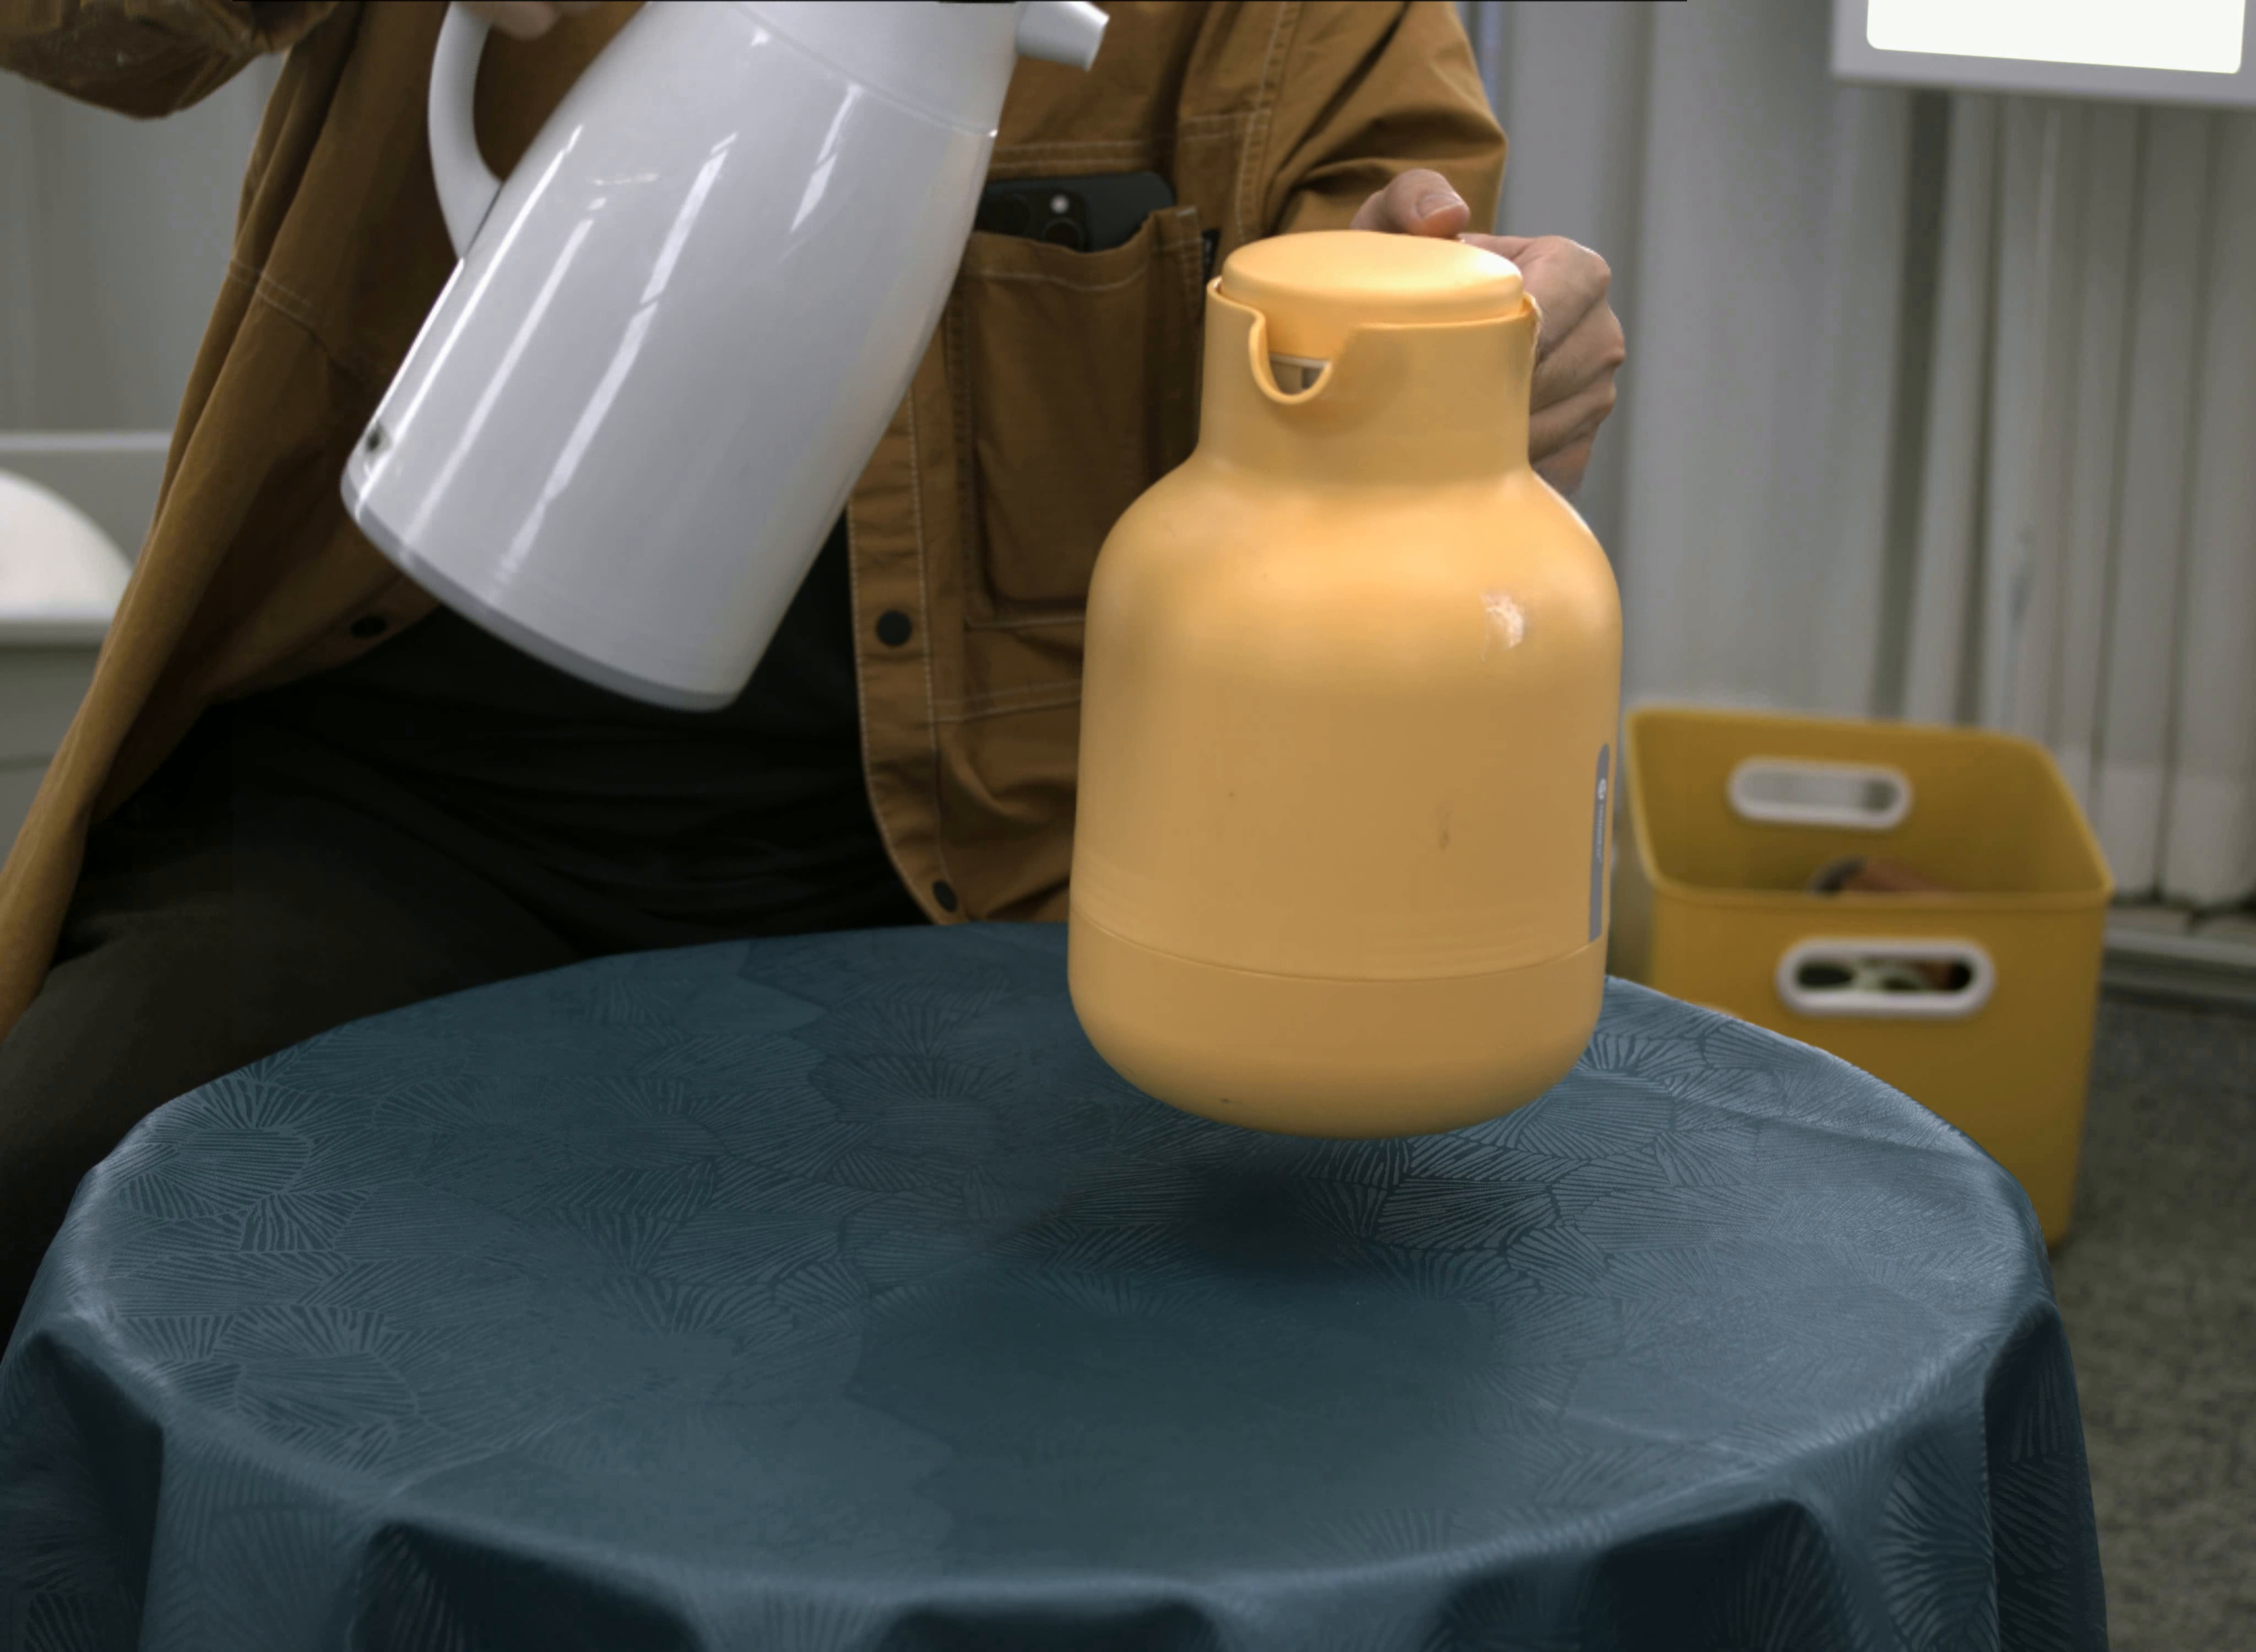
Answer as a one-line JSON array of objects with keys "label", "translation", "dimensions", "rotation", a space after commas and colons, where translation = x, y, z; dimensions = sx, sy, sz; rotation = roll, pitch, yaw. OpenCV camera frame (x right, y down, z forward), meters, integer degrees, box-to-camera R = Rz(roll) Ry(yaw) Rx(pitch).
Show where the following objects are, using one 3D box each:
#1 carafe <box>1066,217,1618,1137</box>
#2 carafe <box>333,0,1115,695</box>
[{"label": "carafe", "translation": [0.074, -0.052, 1.582], "dimensions": [0.162, 0.262, 0.202], "rotation": [11, 20, 20]}, {"label": "carafe", "translation": [-0.125, -0.185, 1.487], "dimensions": [0.168, 0.249, 0.132], "rotation": [30, 15, -6]}]
